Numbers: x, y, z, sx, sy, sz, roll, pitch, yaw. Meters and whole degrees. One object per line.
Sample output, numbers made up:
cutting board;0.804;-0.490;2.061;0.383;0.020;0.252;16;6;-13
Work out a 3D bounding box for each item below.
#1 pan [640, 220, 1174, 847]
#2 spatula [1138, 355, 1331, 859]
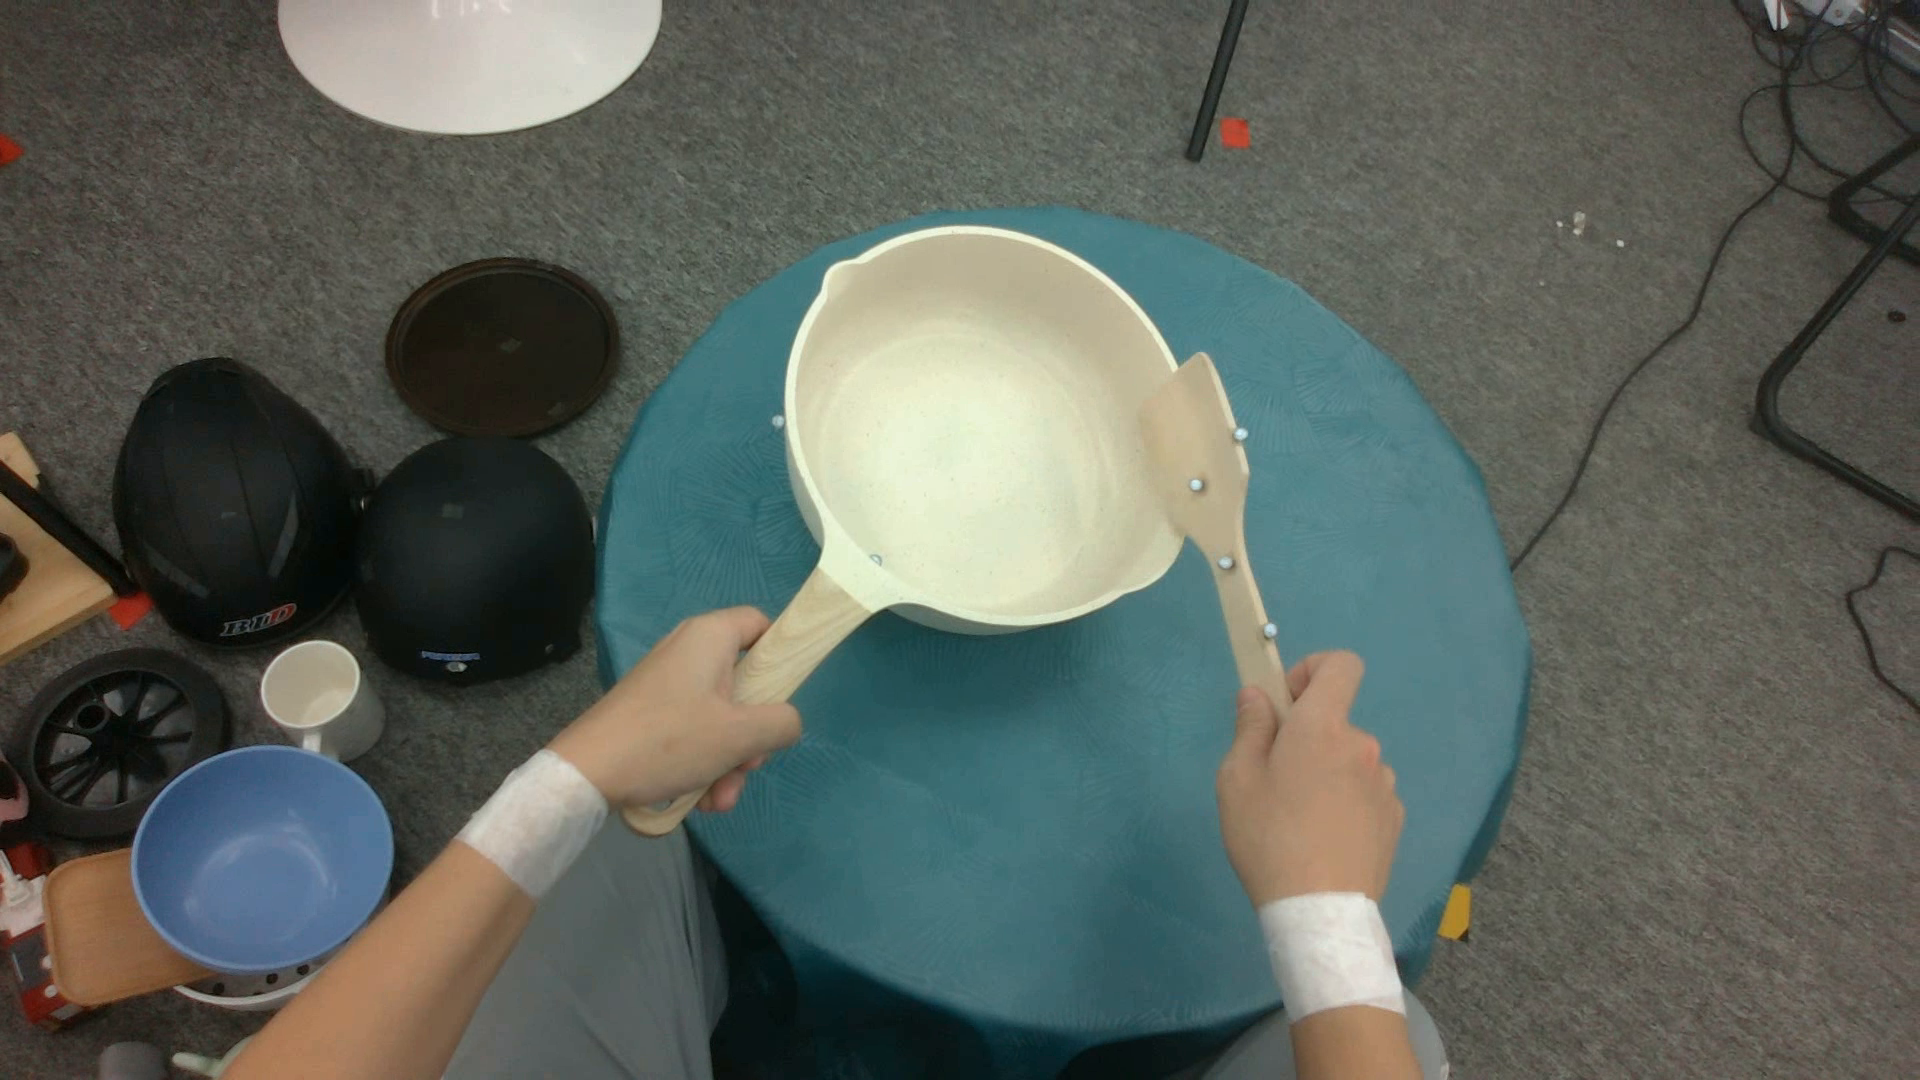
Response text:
pan;-0.044;-0.001;0.799;0.263;0.101;0.436;39;65;-2
spatula;0.155;0.033;0.766;0.011;0.072;0.294;5;59;-30
